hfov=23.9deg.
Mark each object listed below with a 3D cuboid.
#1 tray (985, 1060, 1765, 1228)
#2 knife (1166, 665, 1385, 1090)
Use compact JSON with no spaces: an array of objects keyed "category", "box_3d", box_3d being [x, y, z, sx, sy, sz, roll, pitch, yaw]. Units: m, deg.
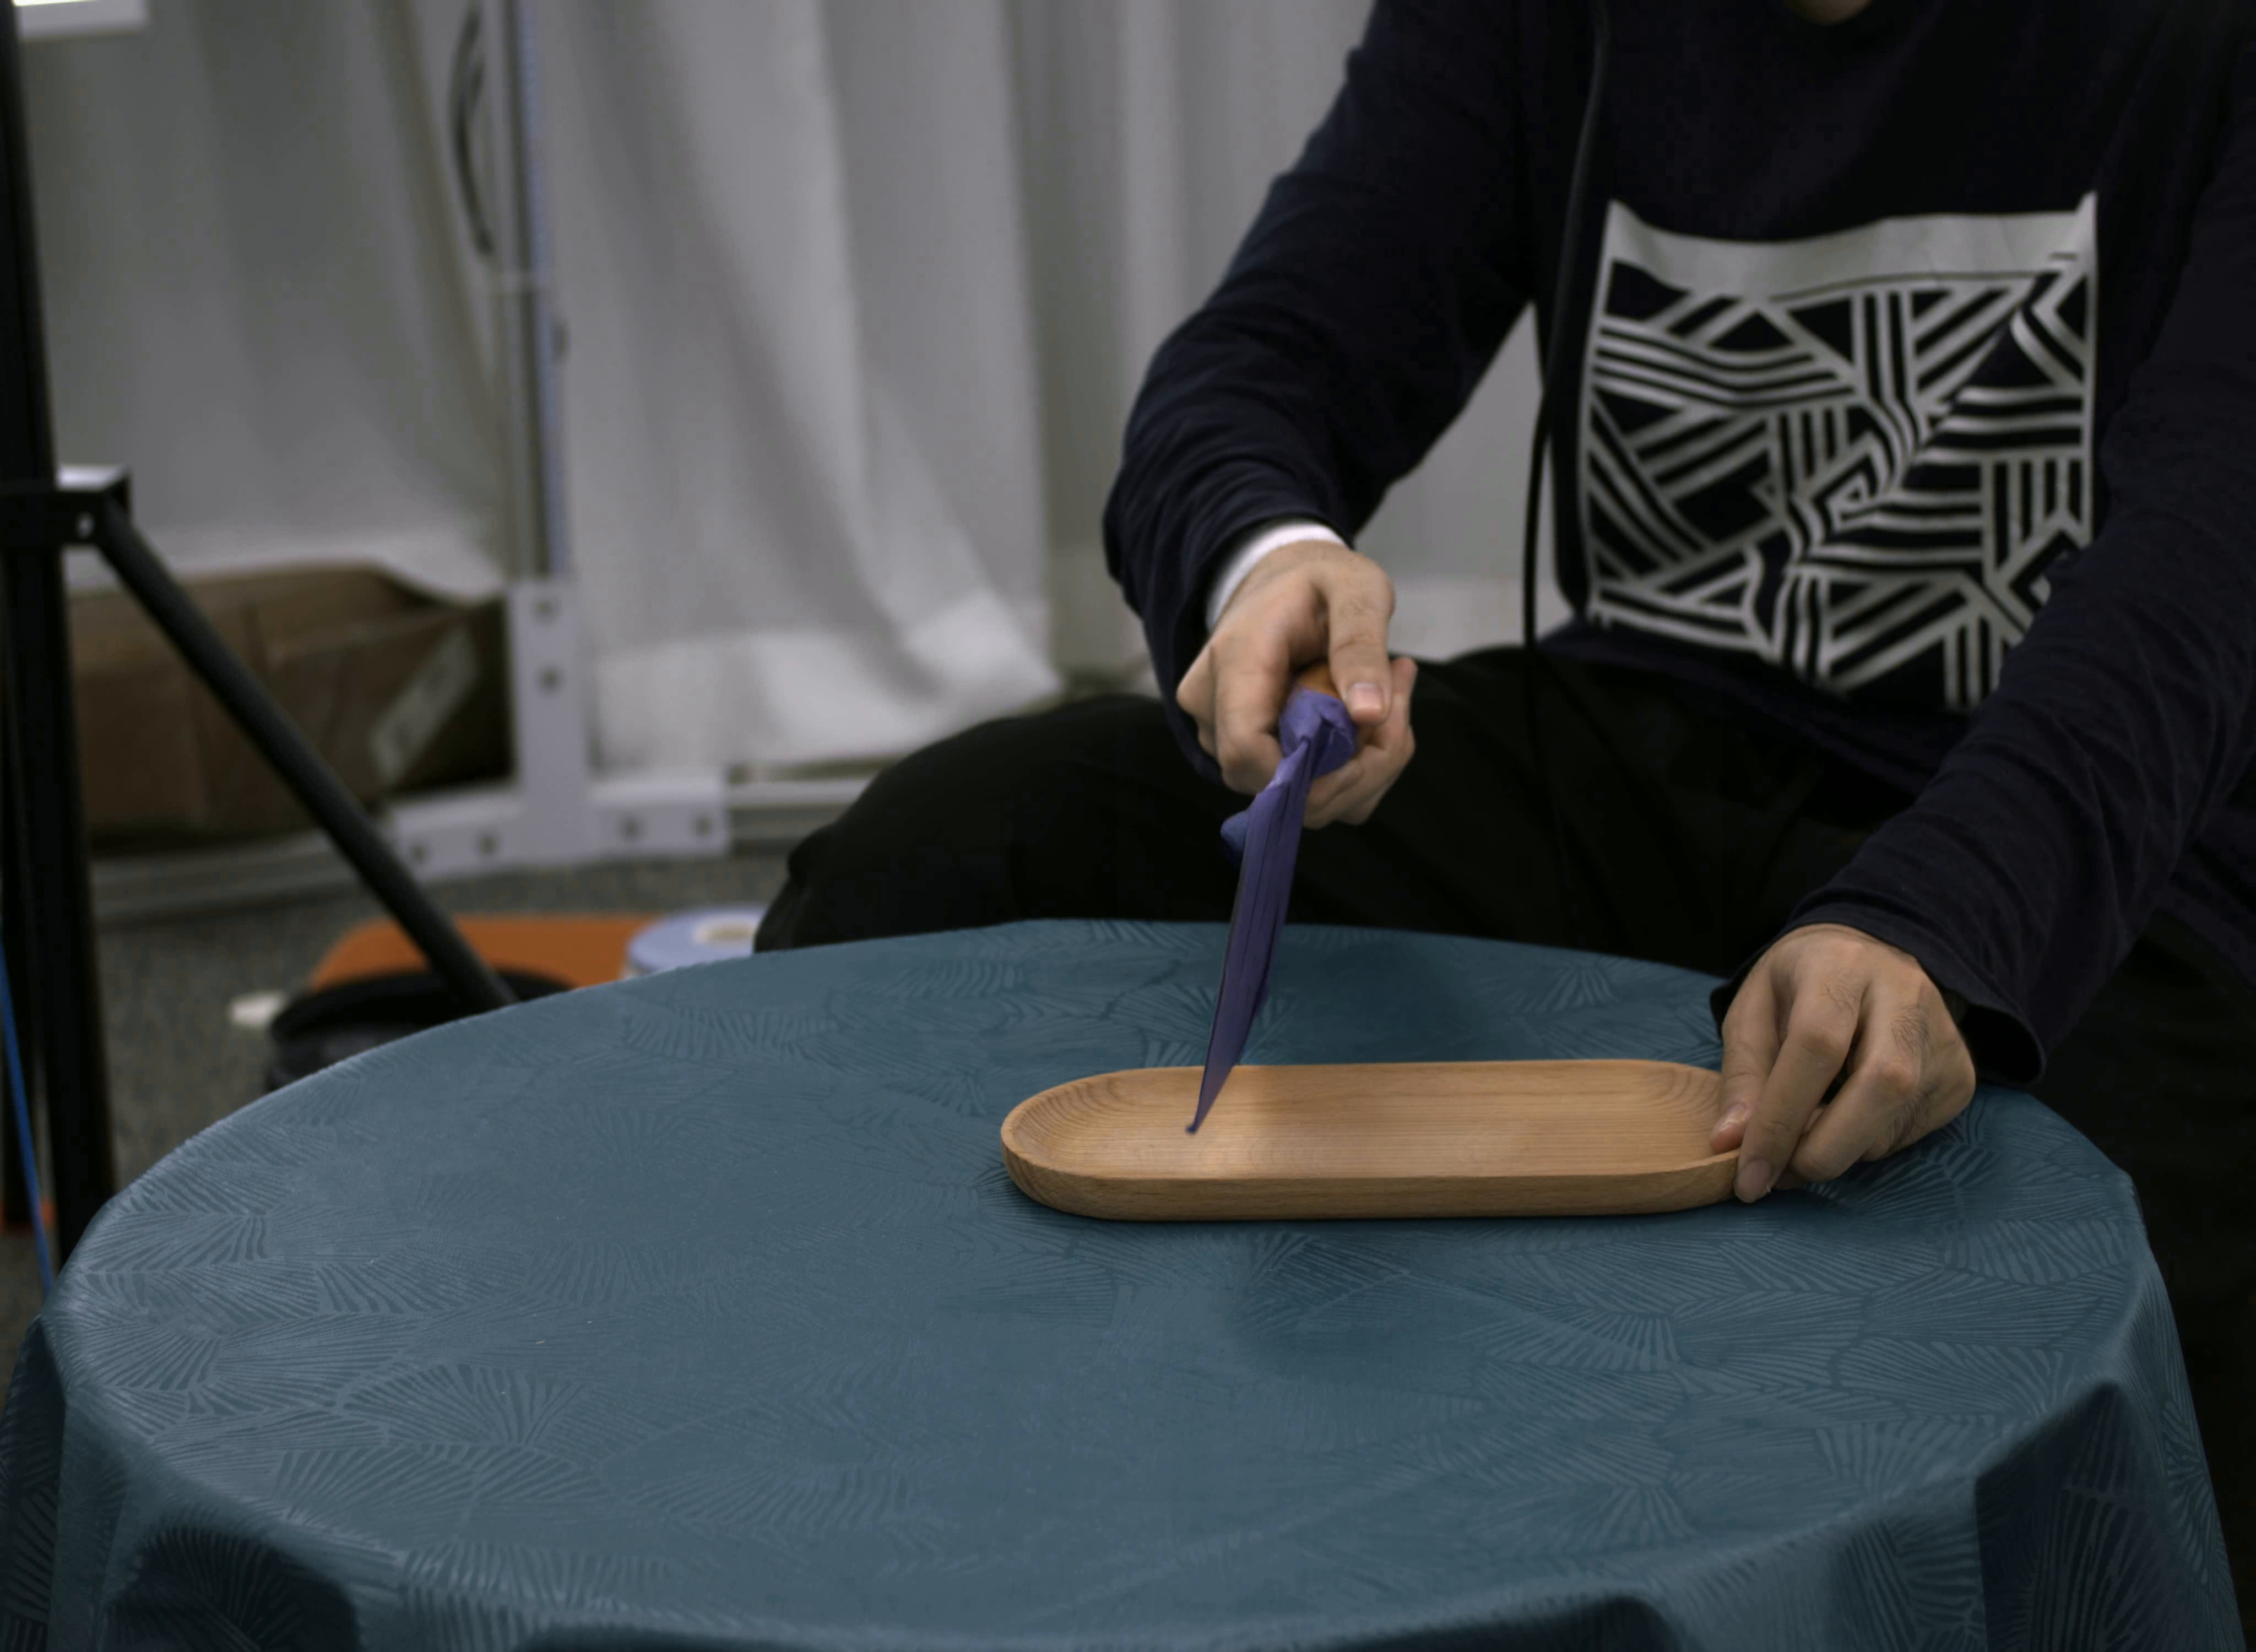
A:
[{"category":"tray","box_3d":[0.073,0.095,1.569,0.231,0.020,0.102,-3,14,5]},{"category":"knife","box_3d":[0.042,0.013,1.620,0.032,0.104,0.313,13,11,7]}]
